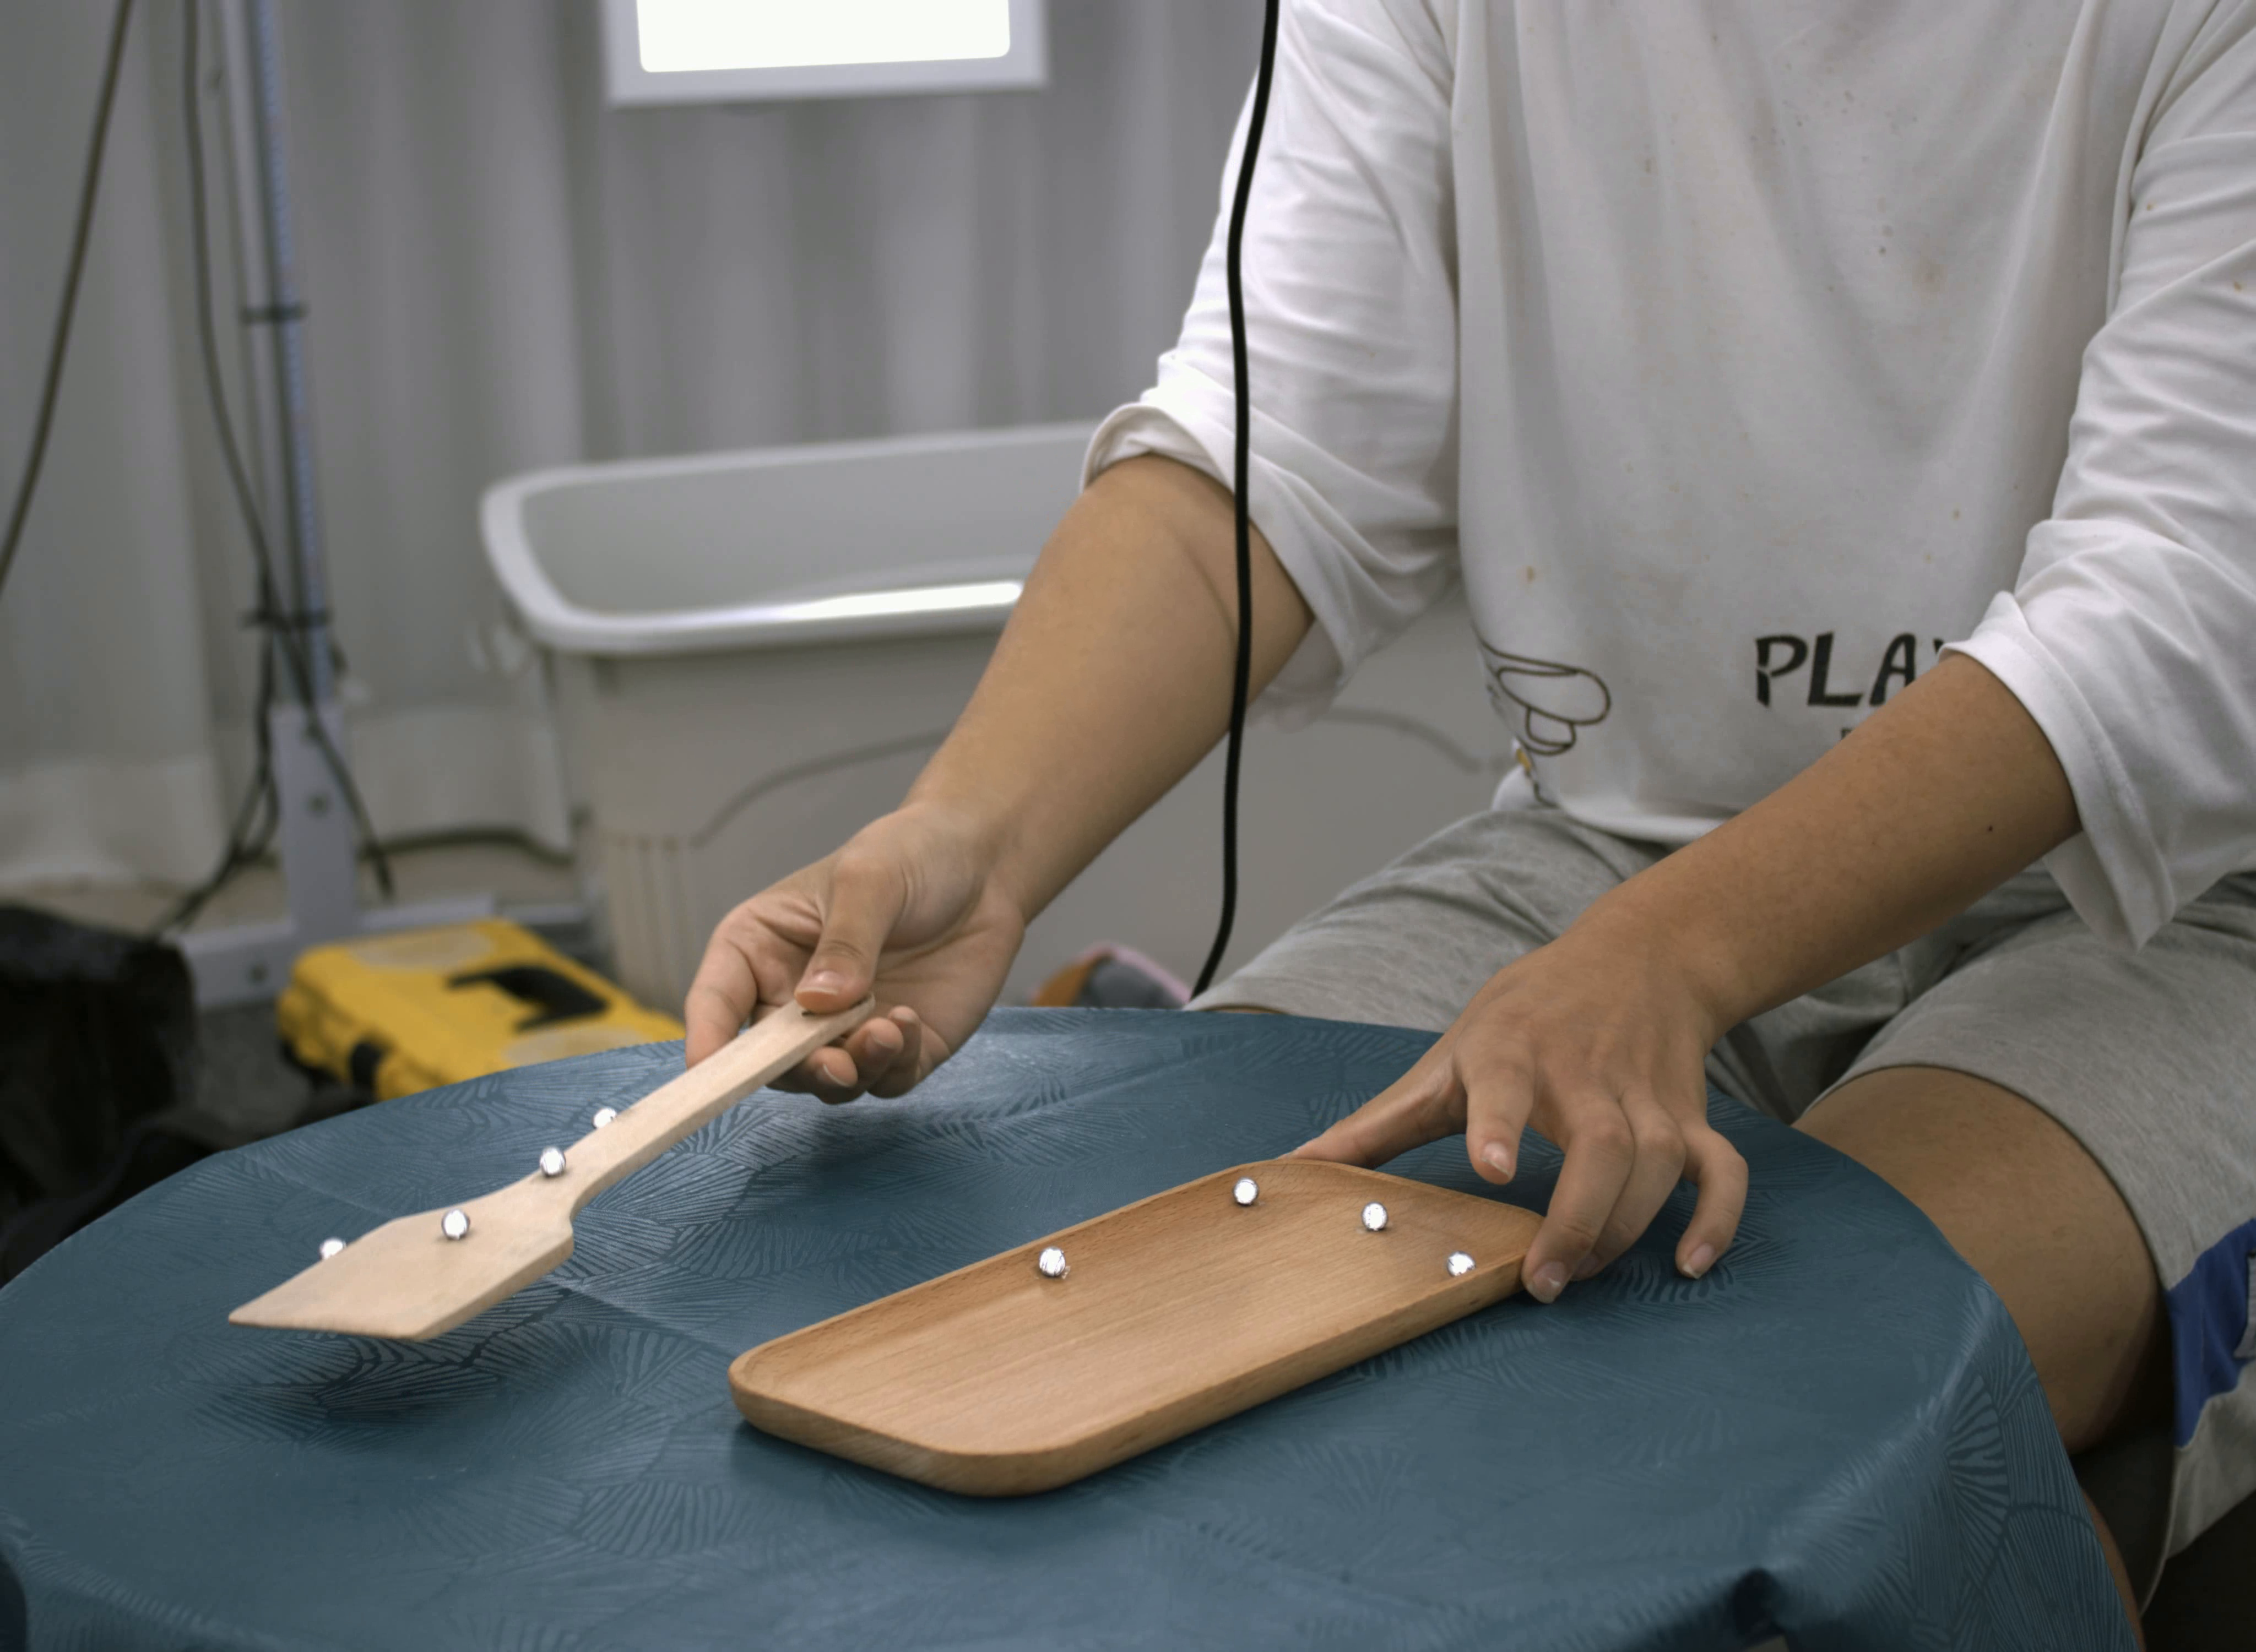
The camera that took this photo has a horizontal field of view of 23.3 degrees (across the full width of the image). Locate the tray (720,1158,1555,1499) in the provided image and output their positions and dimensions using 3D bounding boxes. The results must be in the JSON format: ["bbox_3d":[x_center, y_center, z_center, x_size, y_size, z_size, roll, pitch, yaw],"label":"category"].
[{"bbox_3d":[0.006,0.143,1.581,0.250,0.023,0.131,-17,18,-42],"label":"tray"}]

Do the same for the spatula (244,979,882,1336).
[{"bbox_3d":[-0.158,0.098,1.672,0.072,0.010,0.294,1,19,29],"label":"spatula"}]
